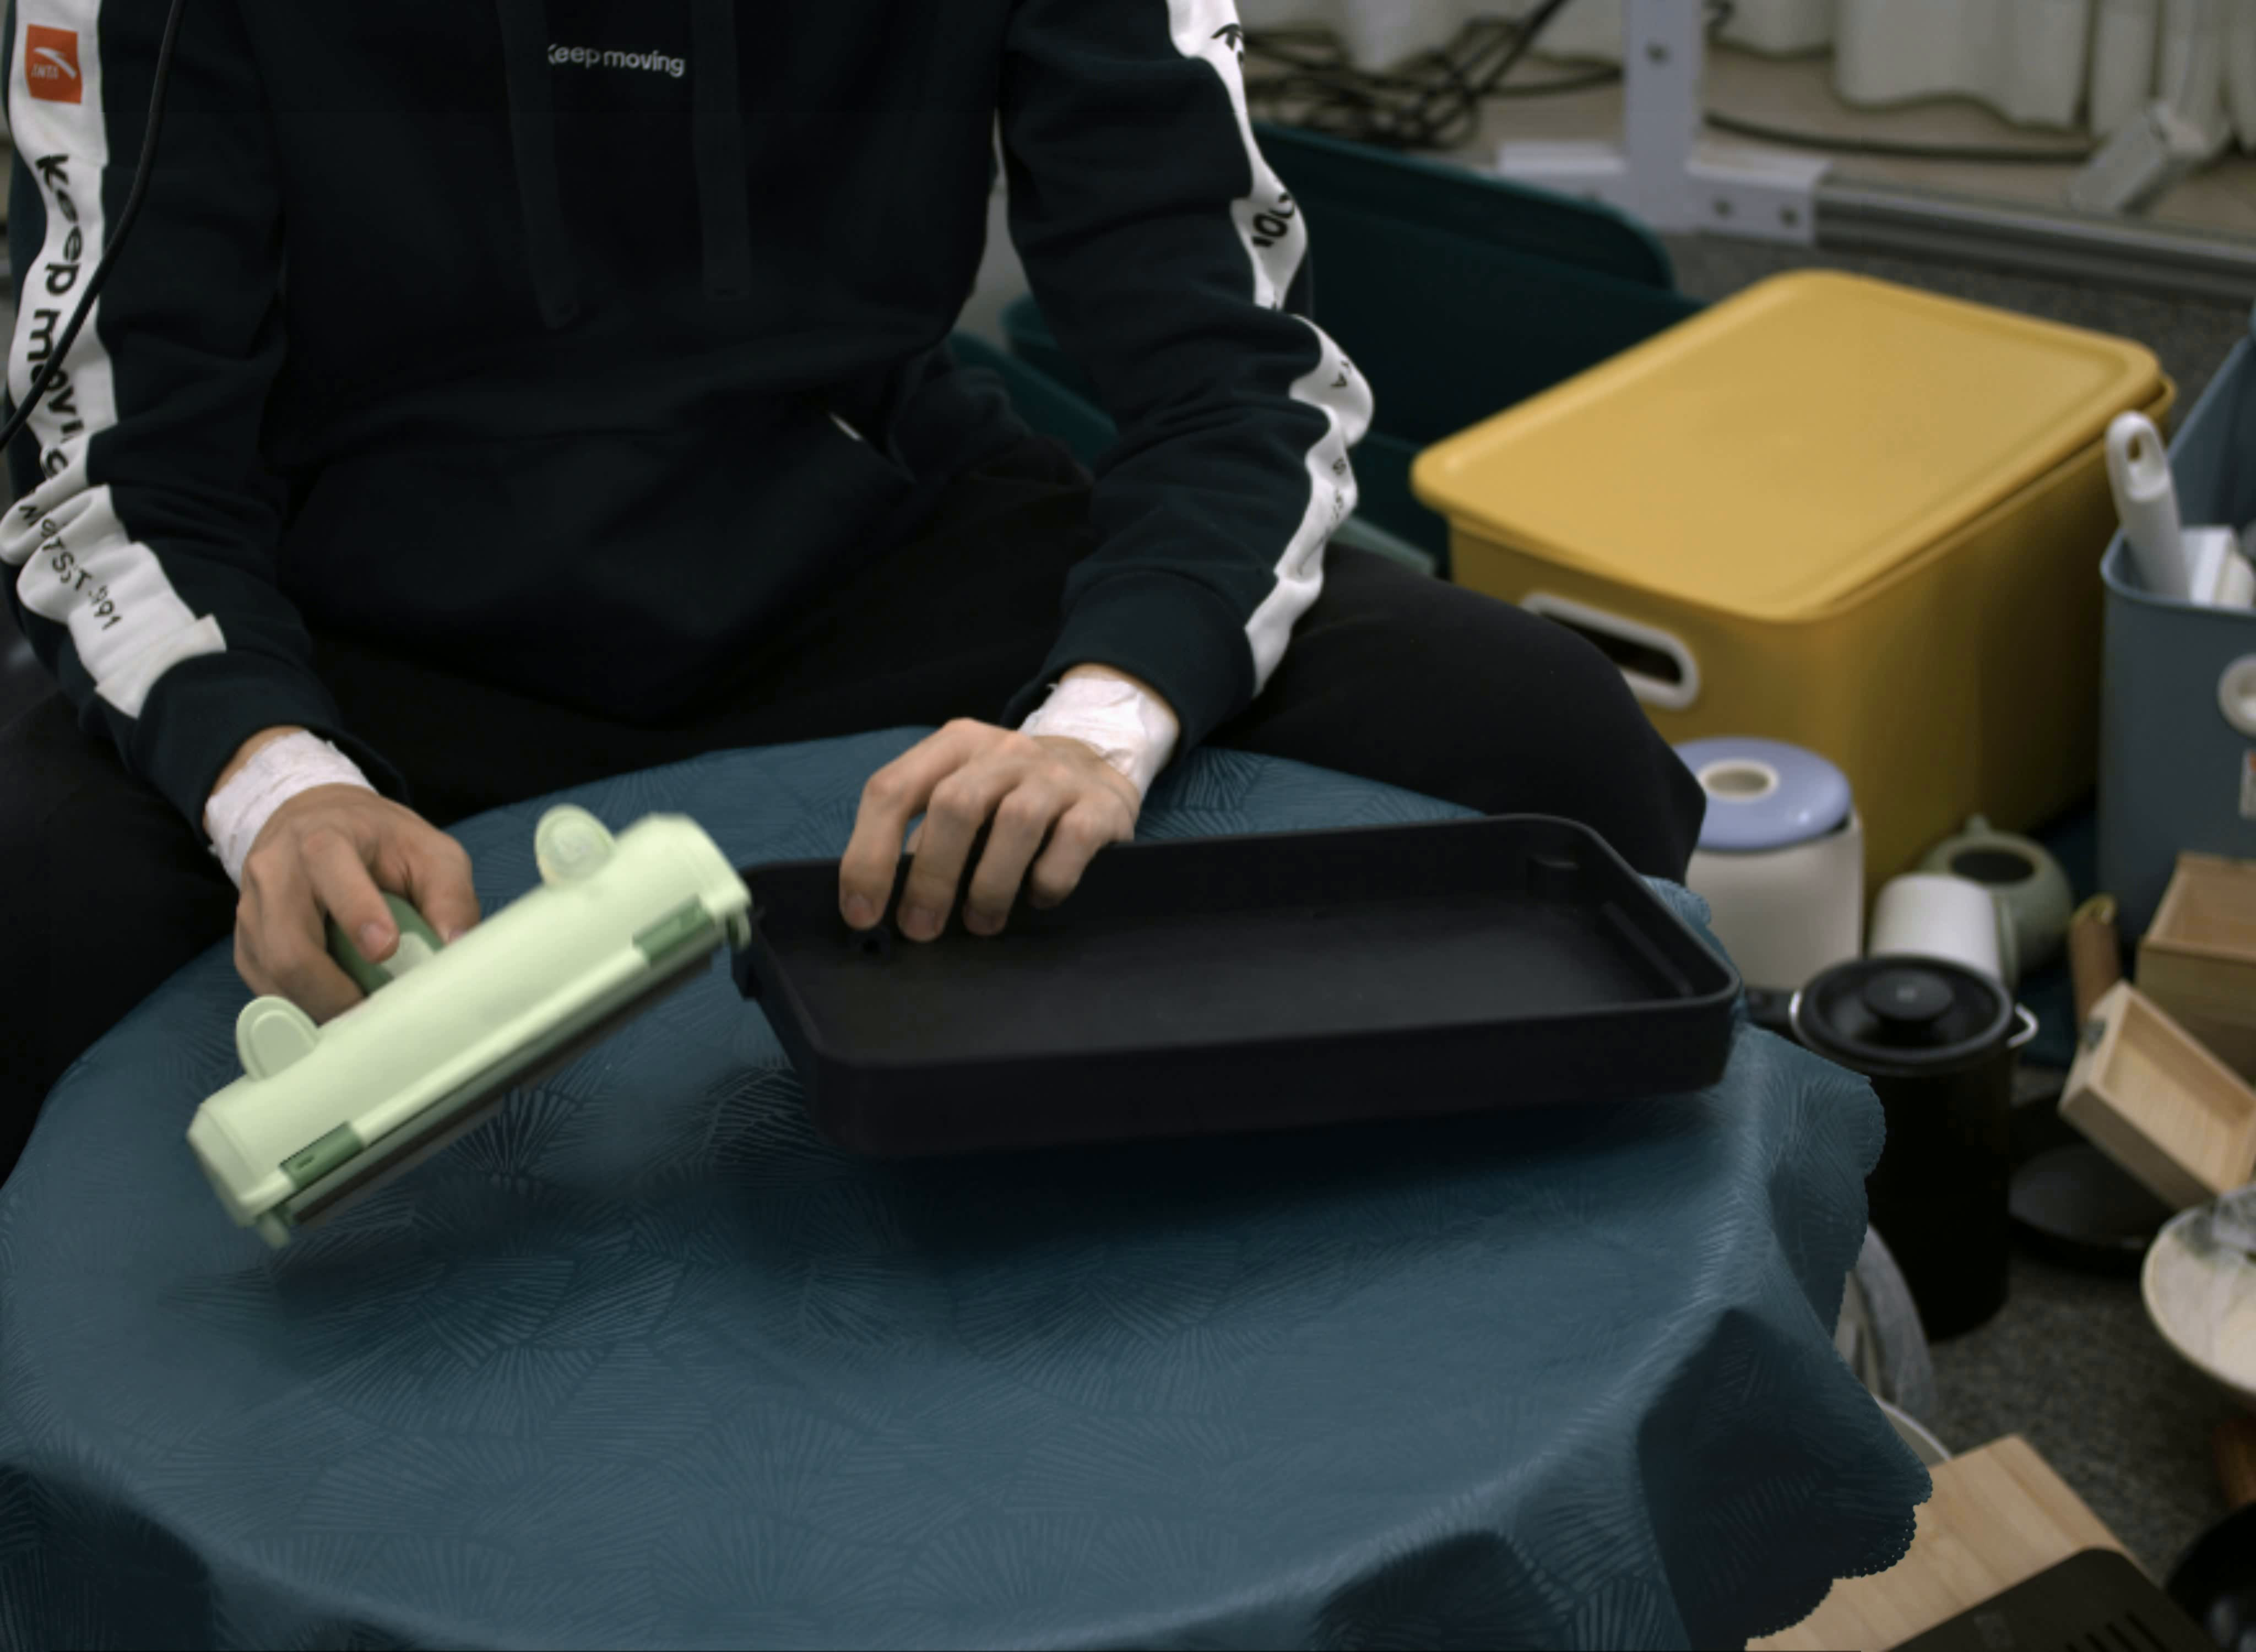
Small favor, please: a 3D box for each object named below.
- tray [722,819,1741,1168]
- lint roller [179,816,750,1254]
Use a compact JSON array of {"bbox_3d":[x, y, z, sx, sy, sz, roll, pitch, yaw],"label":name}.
[{"bbox_3d":[0.032,0.053,1.897,0.318,0.037,0.185,-3,21,-16],"label":"tray"},{"bbox_3d":[-0.245,0.042,1.878,0.200,0.081,0.184,-32,37,-16],"label":"lint roller"}]
